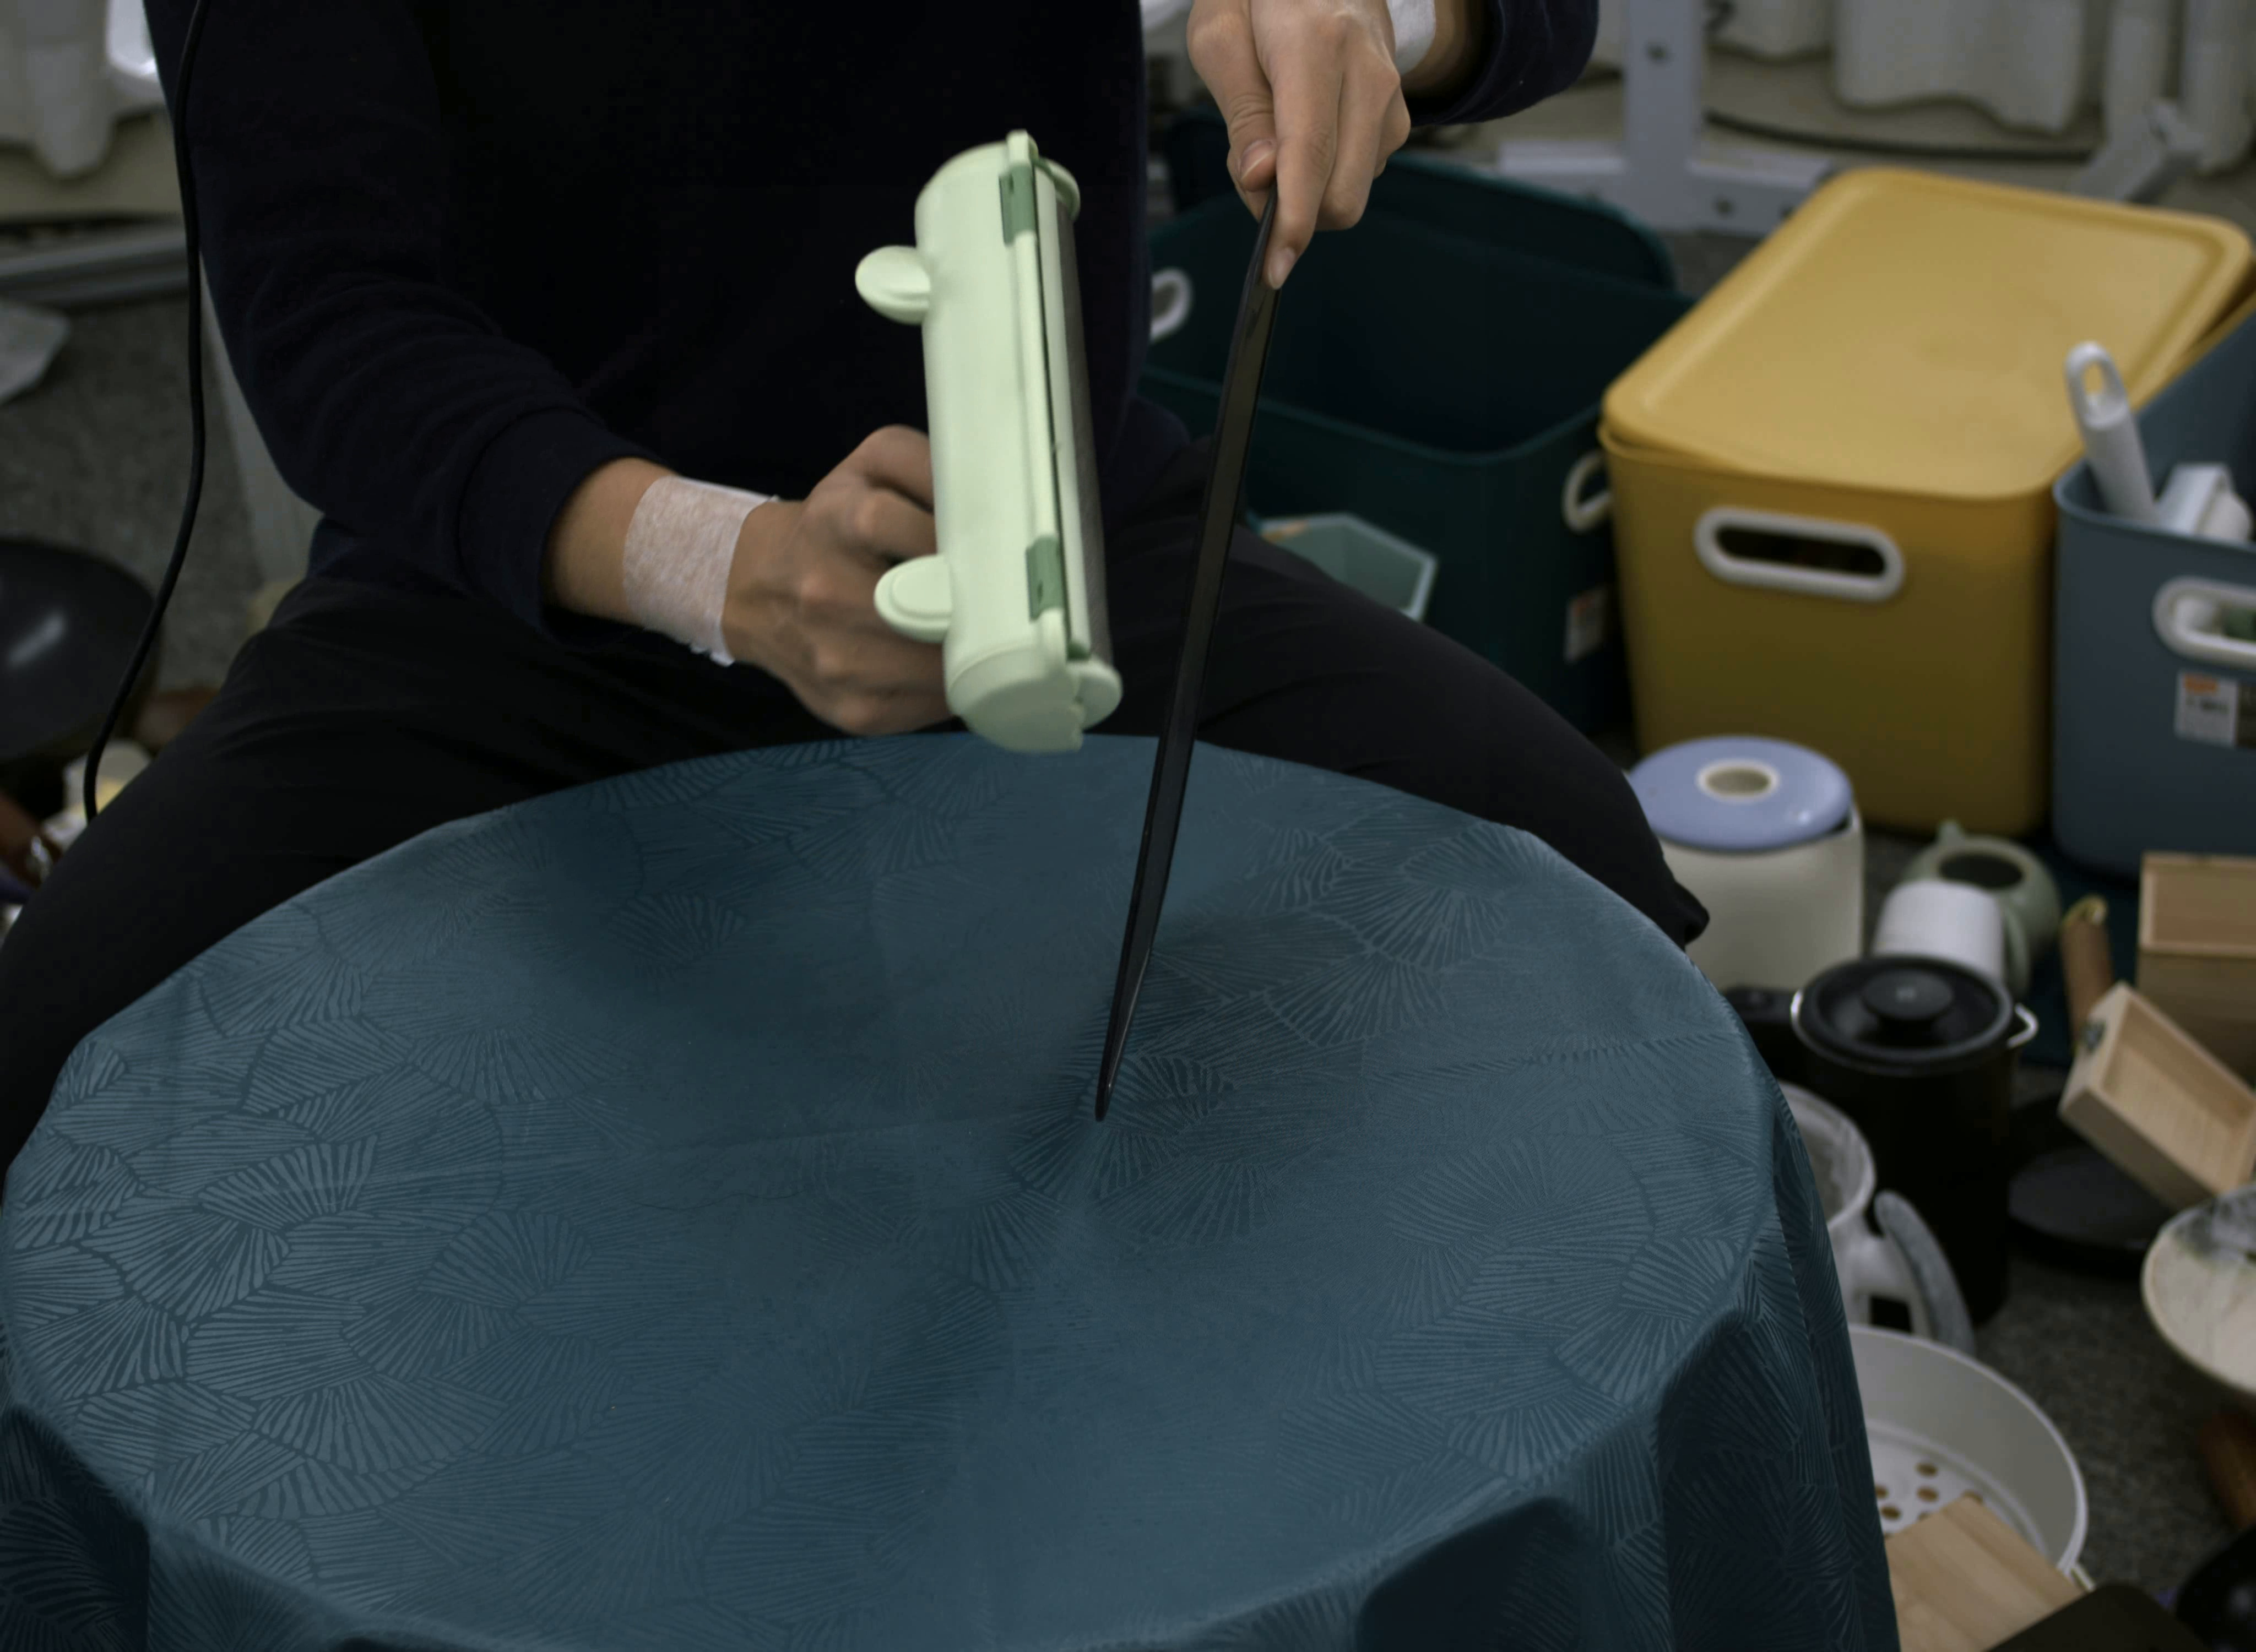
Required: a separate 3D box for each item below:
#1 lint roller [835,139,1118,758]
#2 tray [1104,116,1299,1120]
[{"bbox_3d":[-0.071,-0.096,1.806,0.082,0.180,0.202,14,56,-28],"label":"lint roller"},{"bbox_3d":[0.026,-0.074,1.882,0.010,0.322,0.214,11,21,2],"label":"tray"}]
